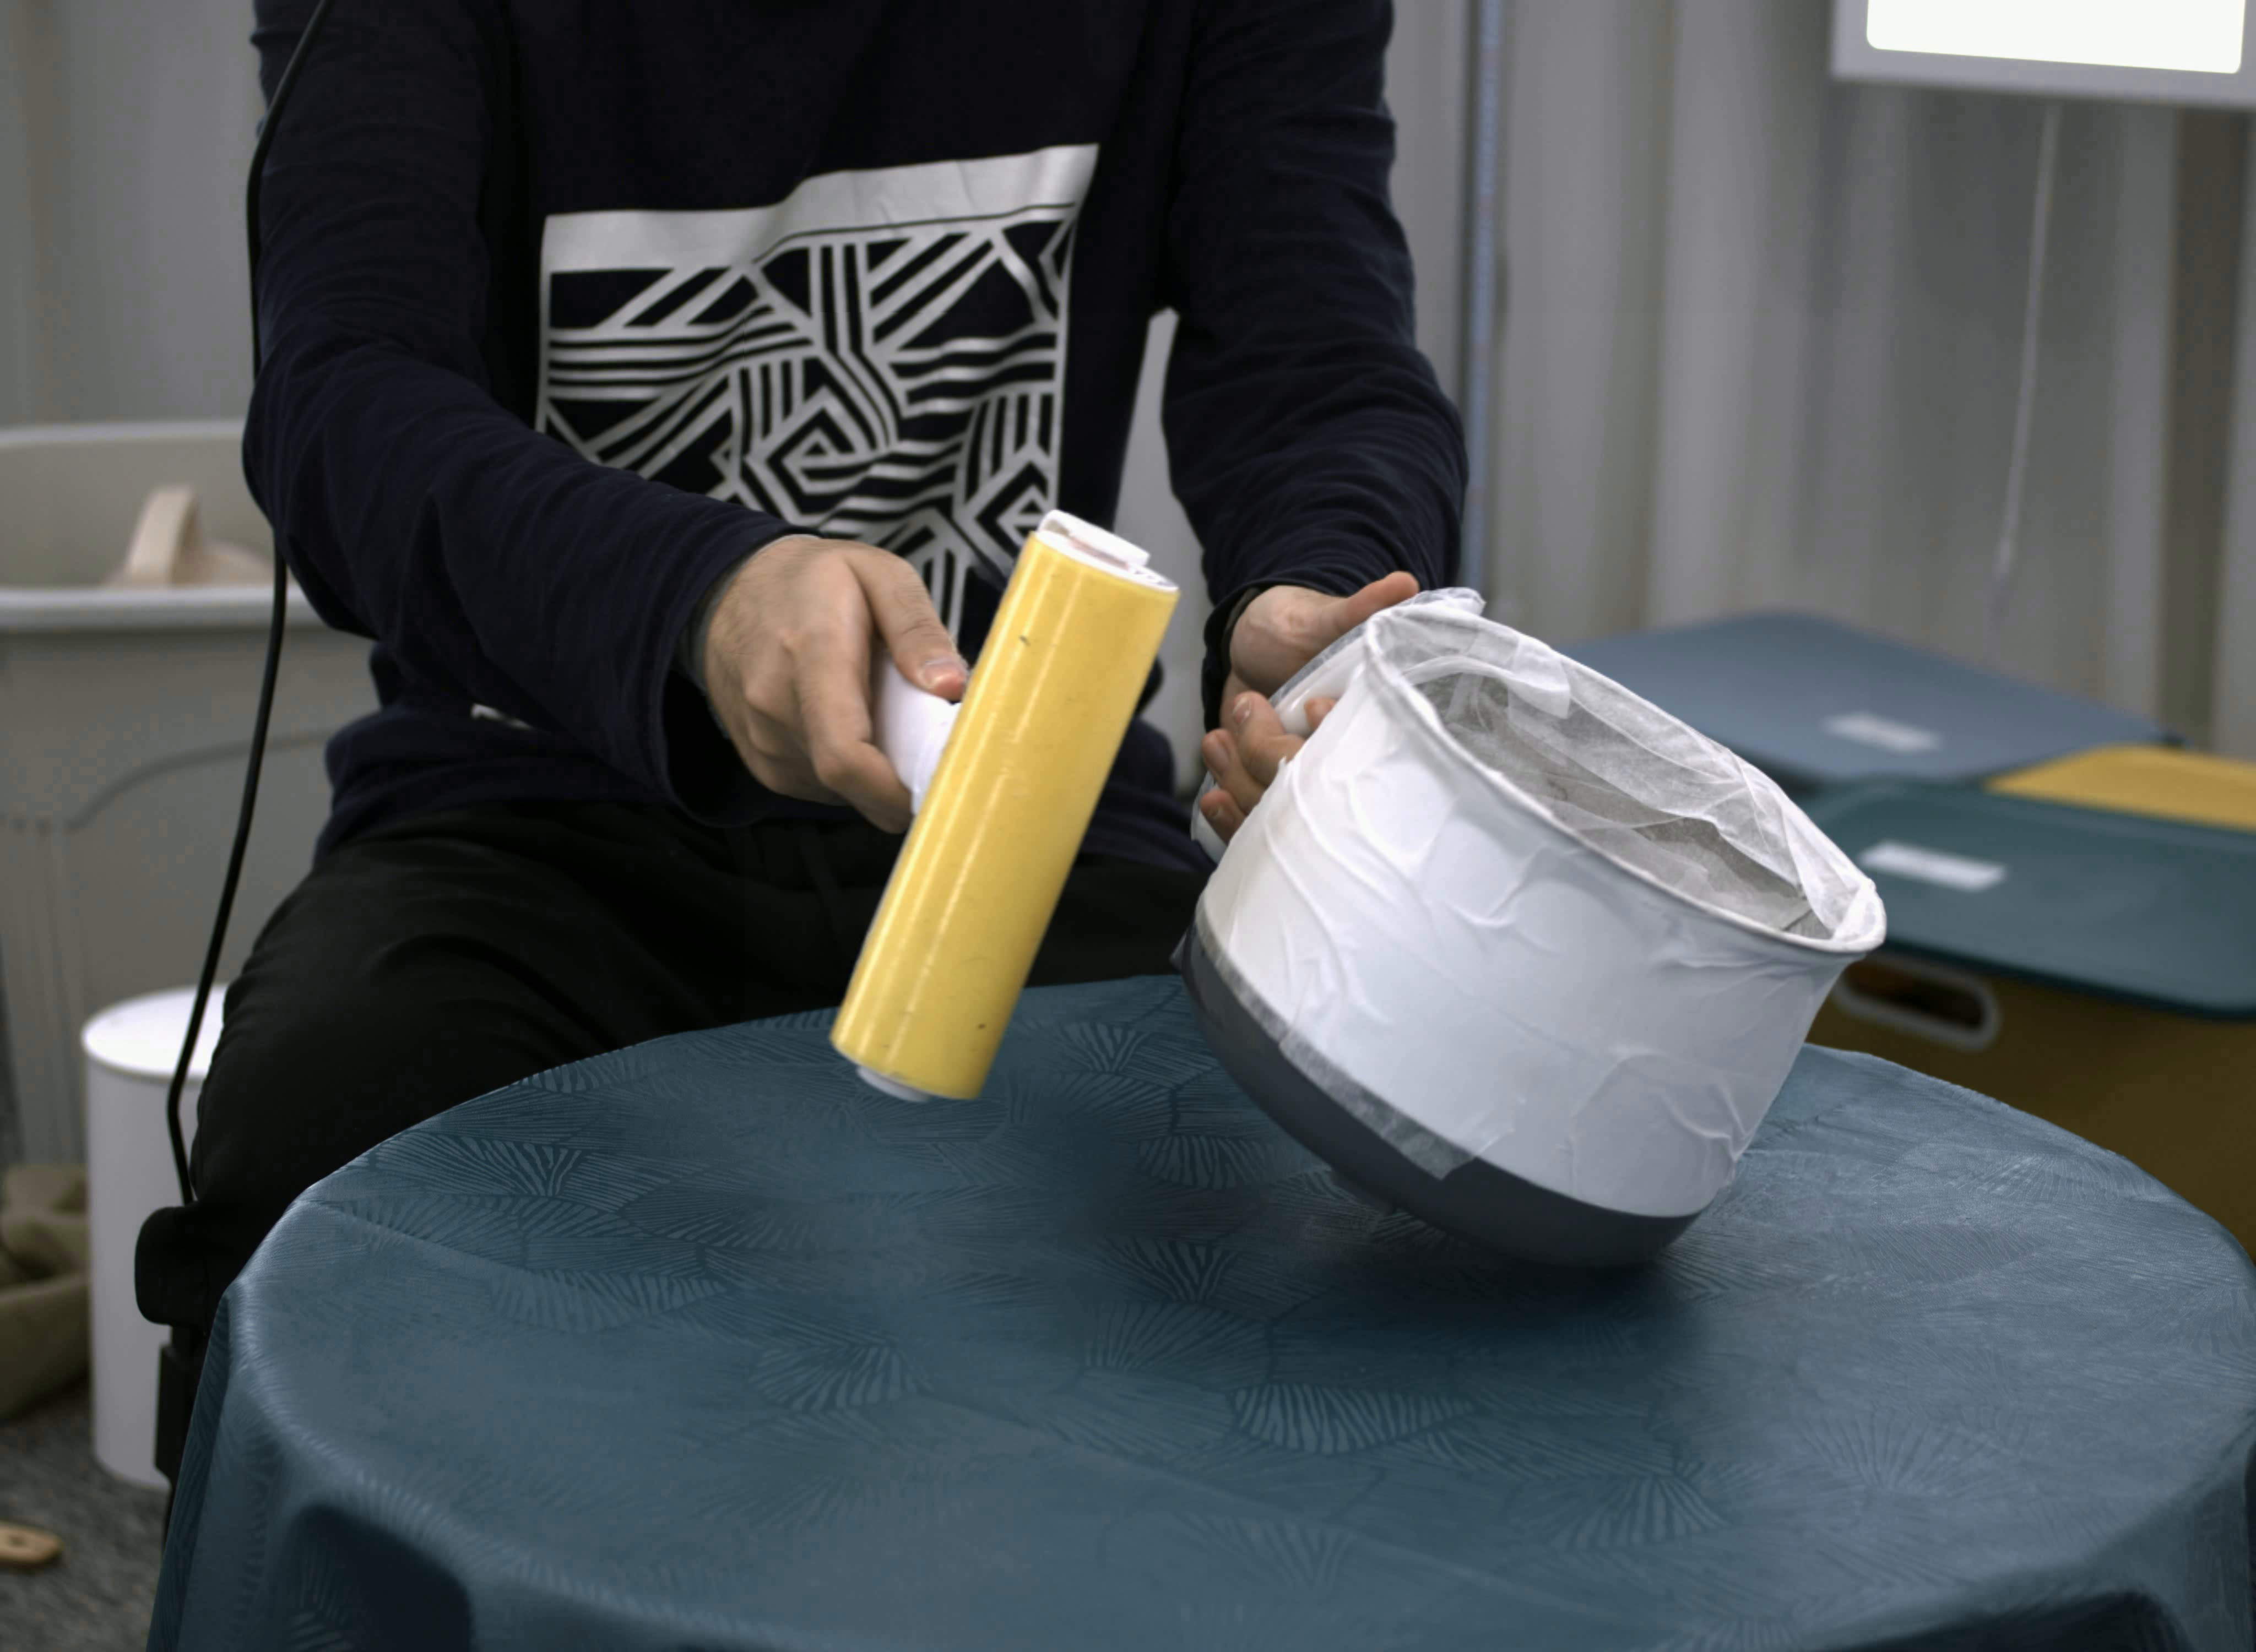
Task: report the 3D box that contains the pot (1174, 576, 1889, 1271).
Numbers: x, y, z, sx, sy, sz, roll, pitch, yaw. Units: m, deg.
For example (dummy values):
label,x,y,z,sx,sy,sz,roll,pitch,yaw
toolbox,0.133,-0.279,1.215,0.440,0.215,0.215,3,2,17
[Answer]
label,x,y,z,sx,sy,sz,roll,pitch,yaw
pot,0.103,0.019,1.571,0.180,0.137,0.230,16,25,-40

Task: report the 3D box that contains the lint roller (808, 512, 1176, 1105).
label,x,y,z,sx,sy,sz,roll,pitch,yaw
lint roller,-0.069,-0.023,1.577,0.052,0.175,0.189,18,8,-32
